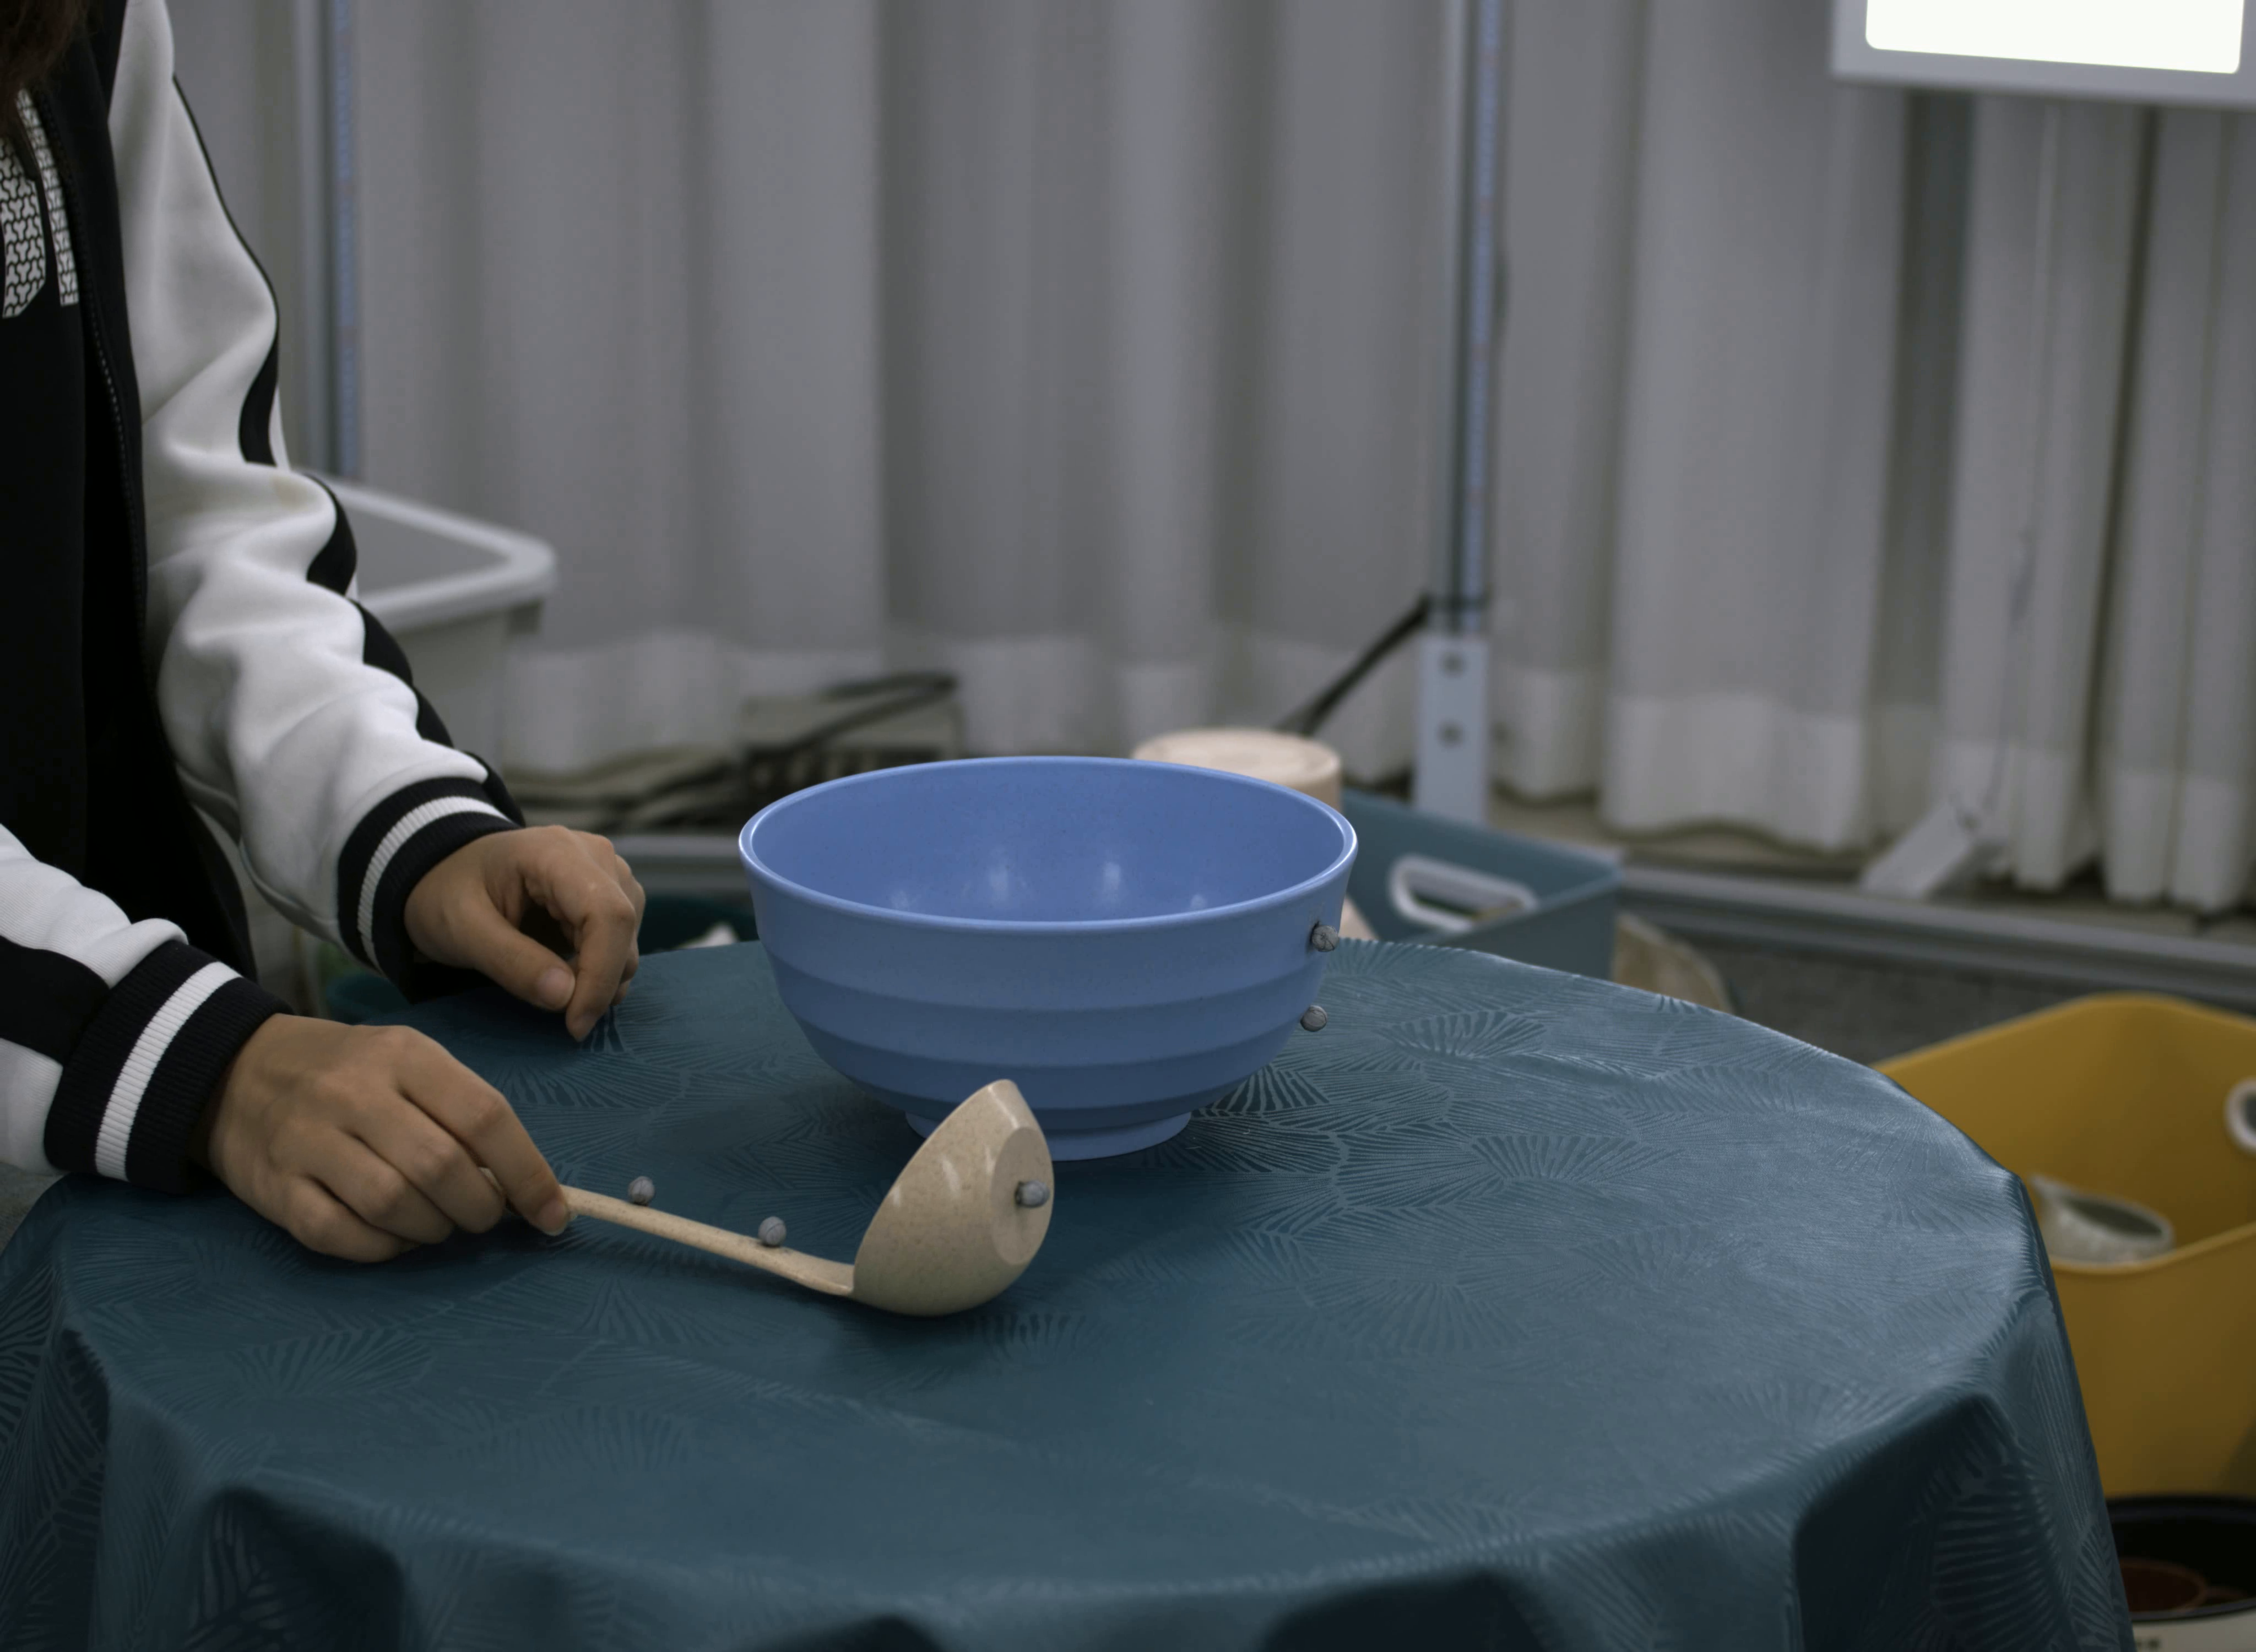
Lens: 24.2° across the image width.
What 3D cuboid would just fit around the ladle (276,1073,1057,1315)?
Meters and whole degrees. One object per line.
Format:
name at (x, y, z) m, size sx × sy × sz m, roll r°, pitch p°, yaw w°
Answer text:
ladle at (-0.142, 0.091, 1.548) m, size 0.252 × 0.073 × 0.072 m, roll 9°, pitch 13°, yaw 23°

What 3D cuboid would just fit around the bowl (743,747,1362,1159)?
bowl at (-0.026, 0.046, 1.677) m, size 0.196 × 0.096 × 0.195 m, roll 3°, pitch 16°, yaw 0°
